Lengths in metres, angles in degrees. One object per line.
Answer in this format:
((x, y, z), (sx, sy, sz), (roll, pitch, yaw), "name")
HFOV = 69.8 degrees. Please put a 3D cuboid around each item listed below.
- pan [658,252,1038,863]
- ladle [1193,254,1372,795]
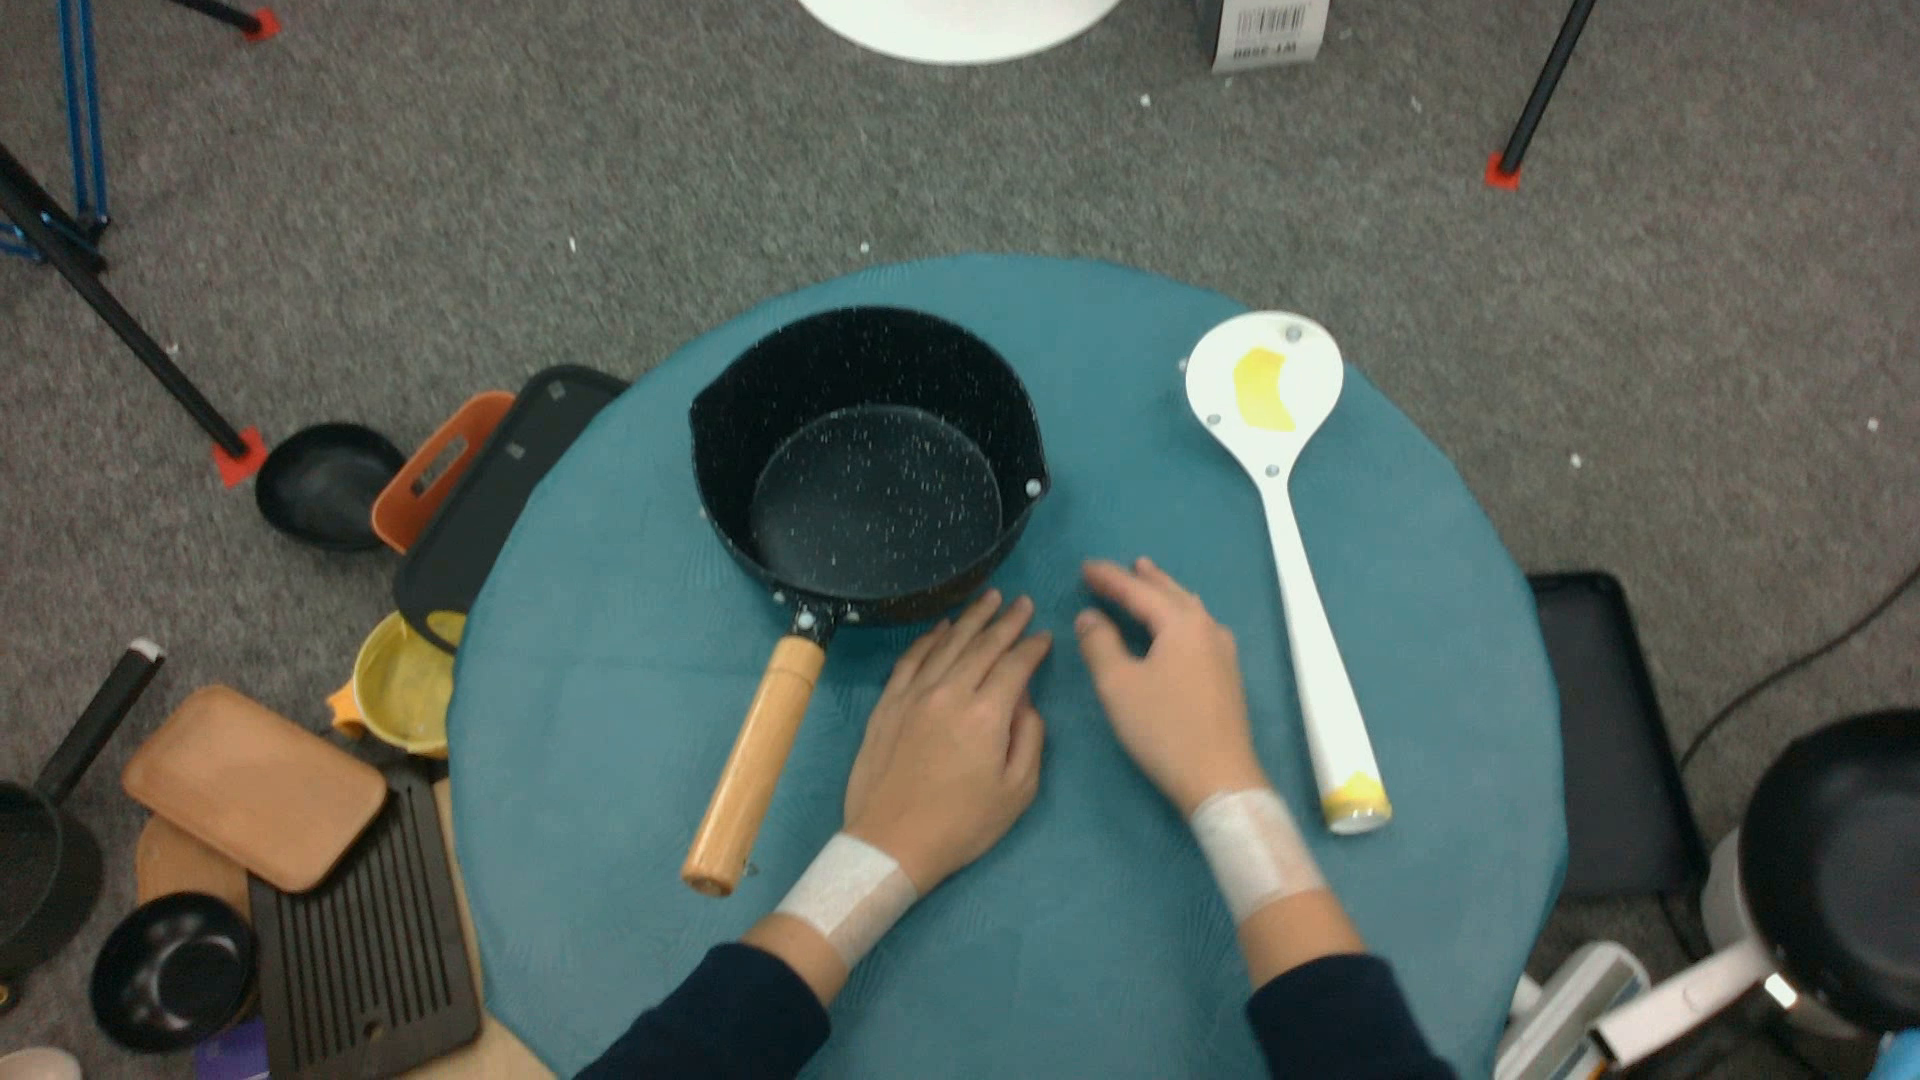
((-0.076, 0.009, 0.713), (0.207, 0.108, 0.344), (12, 65, 4), "pan")
((0.185, -0.014, 0.747), (0.090, 0.069, 0.294), (-2, 66, -7), "ladle")
